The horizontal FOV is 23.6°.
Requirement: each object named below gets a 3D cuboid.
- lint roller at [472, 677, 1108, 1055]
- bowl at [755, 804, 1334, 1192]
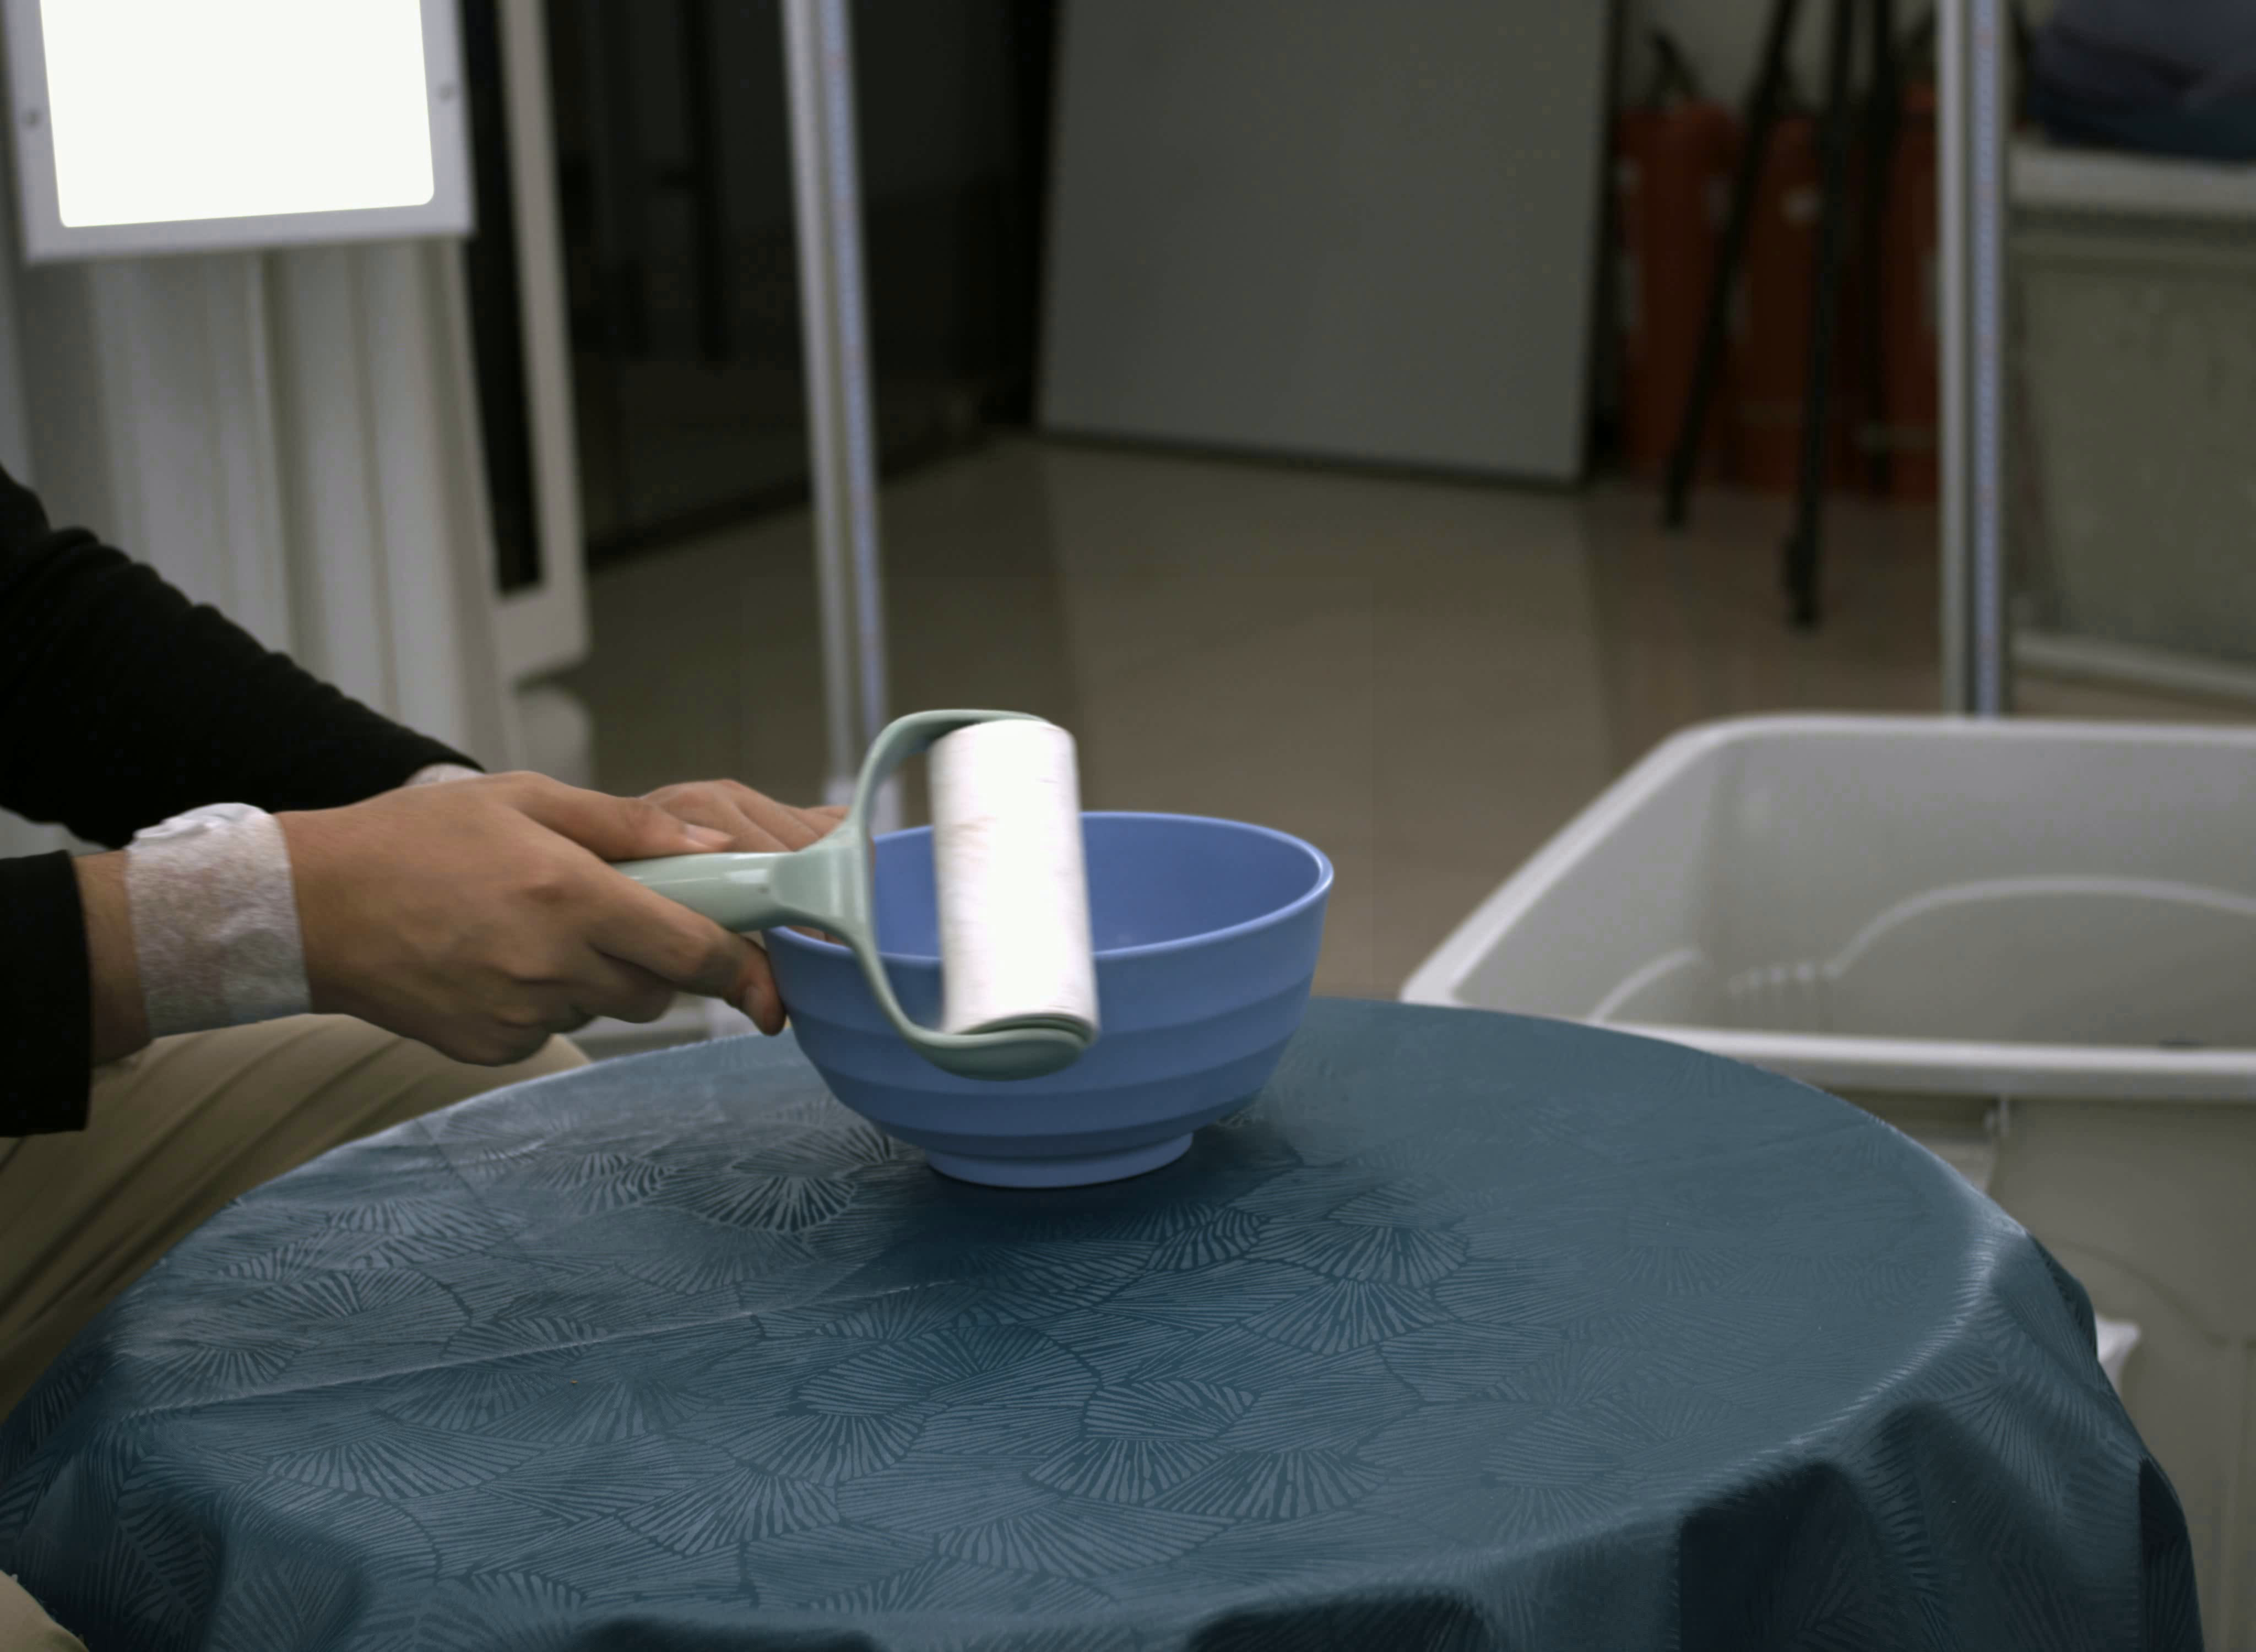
[{"bbox_3d":[-0.108,0.018,1.686,0.194,0.118,0.048,-4,-21,-4],"label":"lint roller"},{"bbox_3d":[-0.026,0.063,1.808,0.194,0.096,0.197,-3,14,0],"label":"bowl"}]
